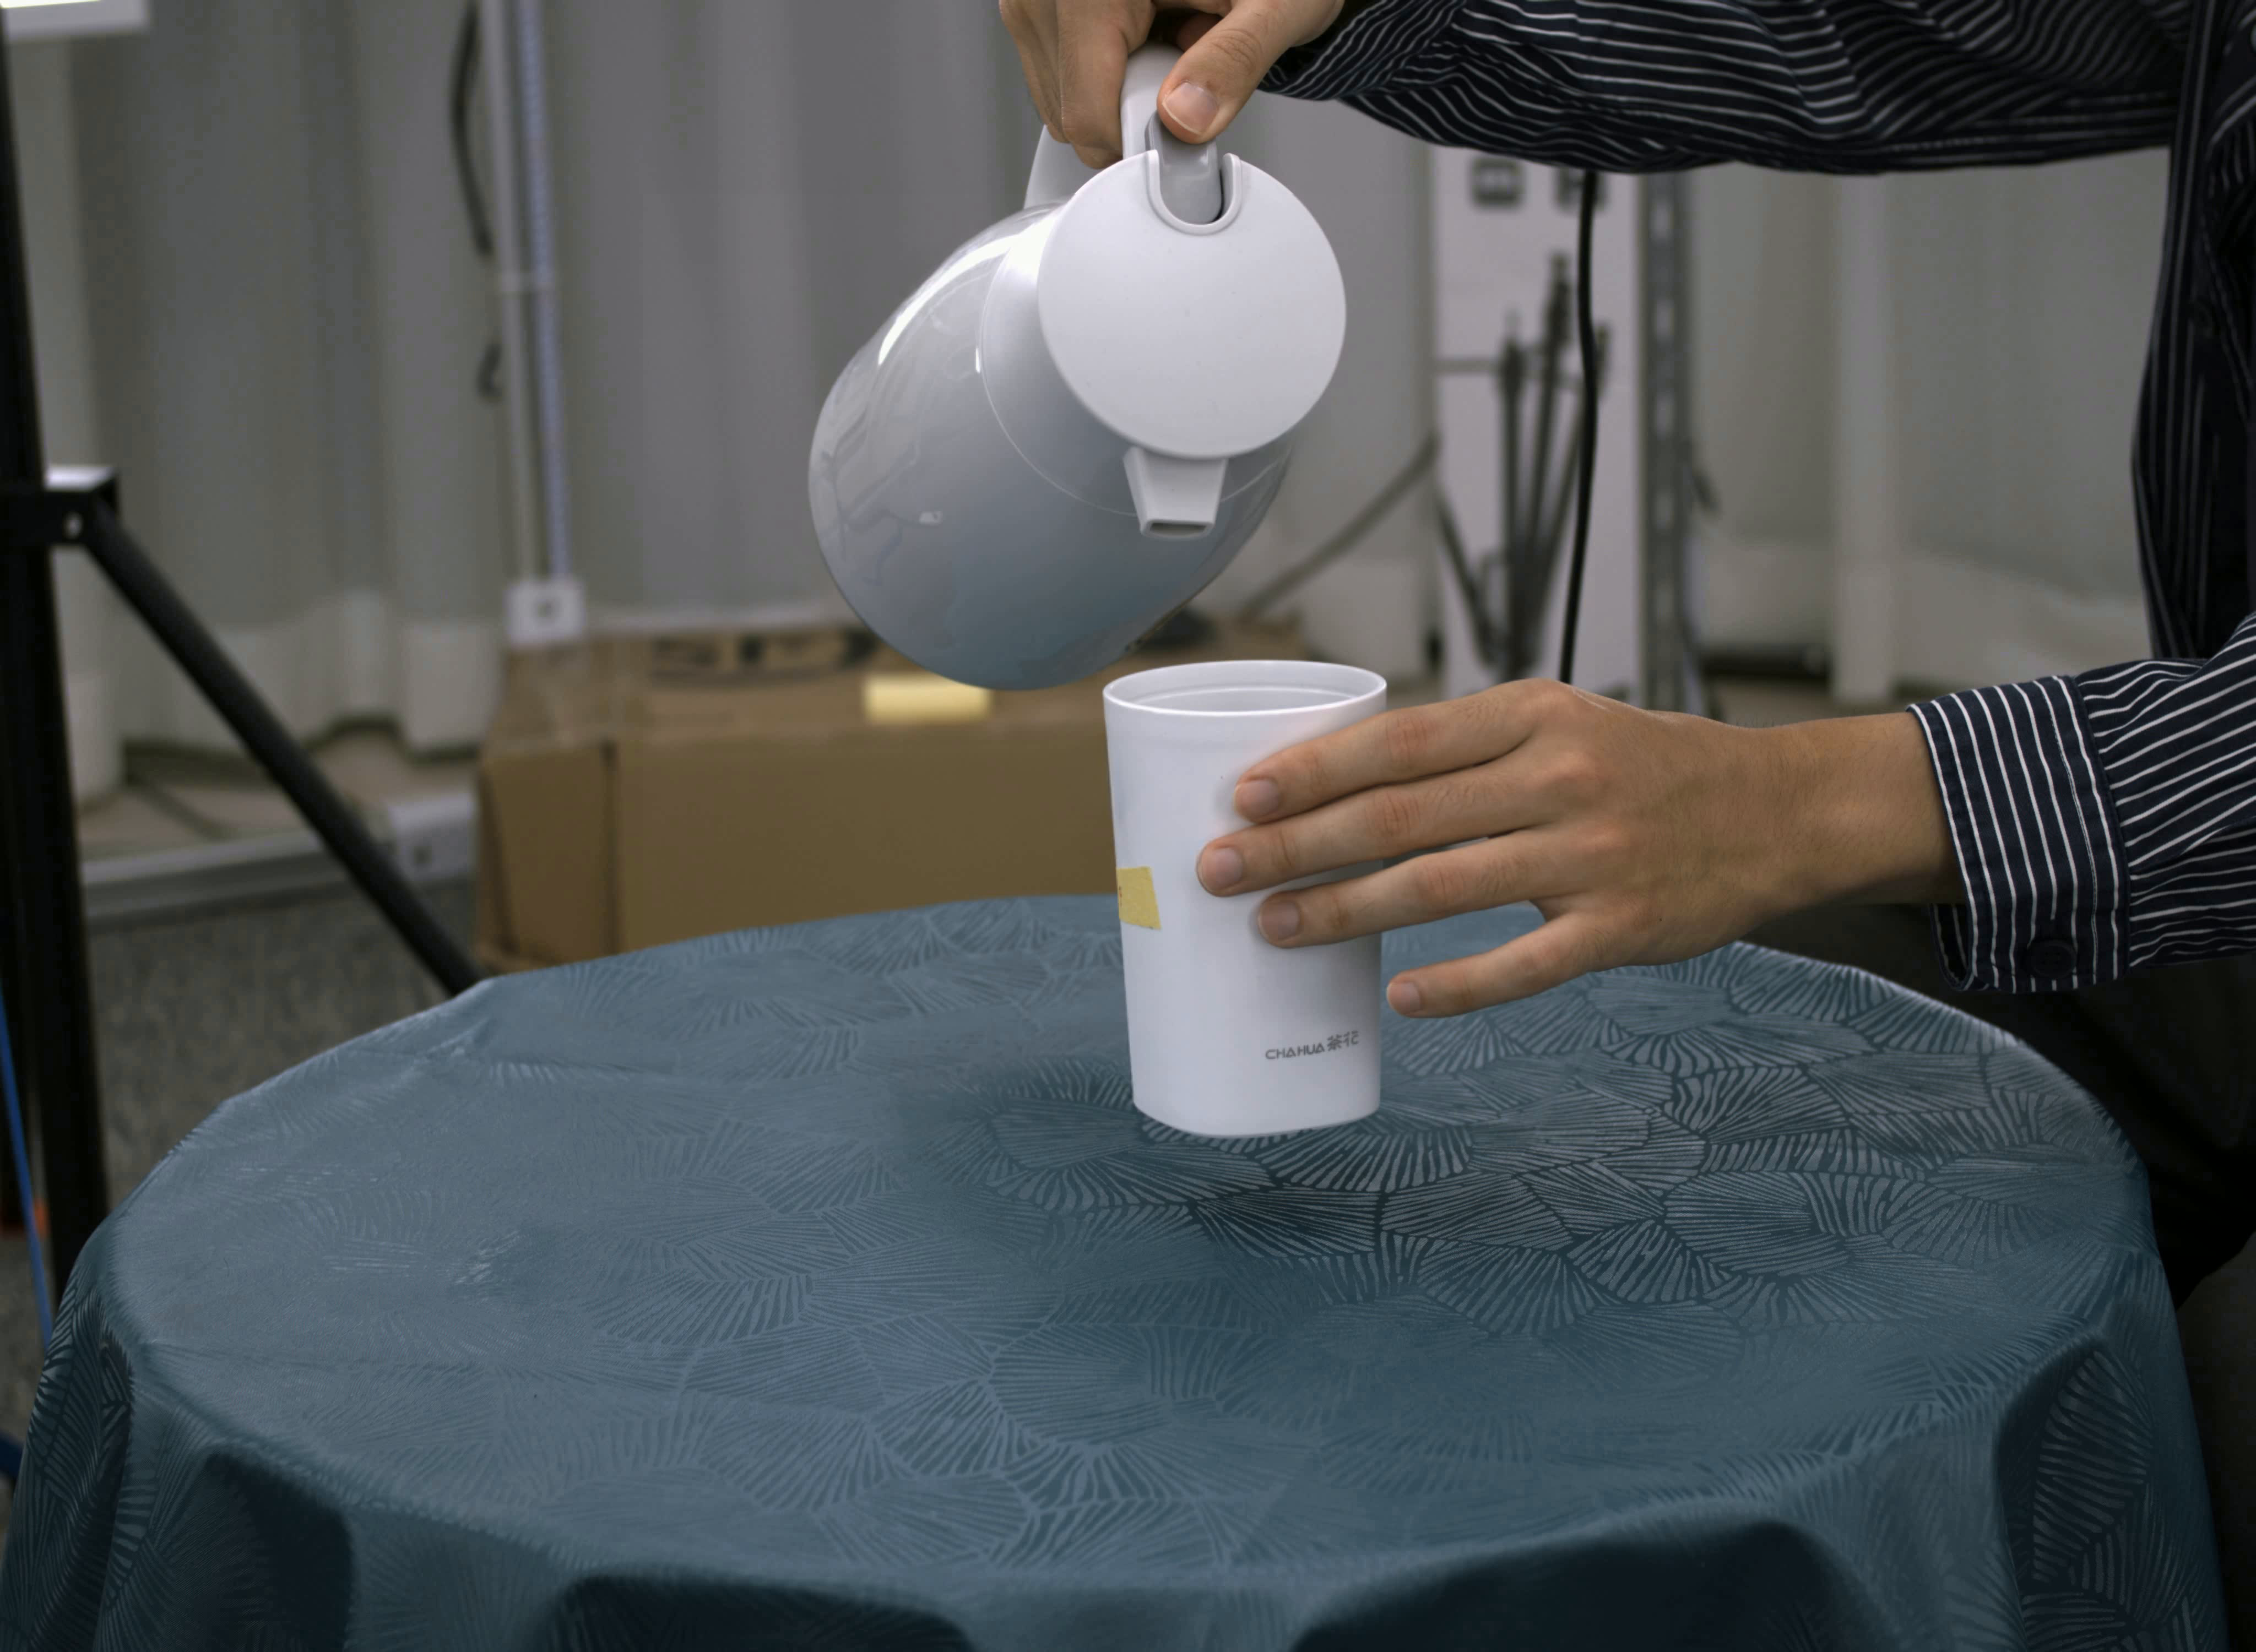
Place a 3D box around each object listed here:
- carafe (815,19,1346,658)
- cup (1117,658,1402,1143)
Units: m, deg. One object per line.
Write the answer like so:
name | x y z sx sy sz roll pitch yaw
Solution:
carafe | -0.012 -0.152 1.622 0.130 0.169 0.250 -3 -7 -13
cup | 0.039 0.021 1.513 0.081 0.125 0.082 -2 11 -1
